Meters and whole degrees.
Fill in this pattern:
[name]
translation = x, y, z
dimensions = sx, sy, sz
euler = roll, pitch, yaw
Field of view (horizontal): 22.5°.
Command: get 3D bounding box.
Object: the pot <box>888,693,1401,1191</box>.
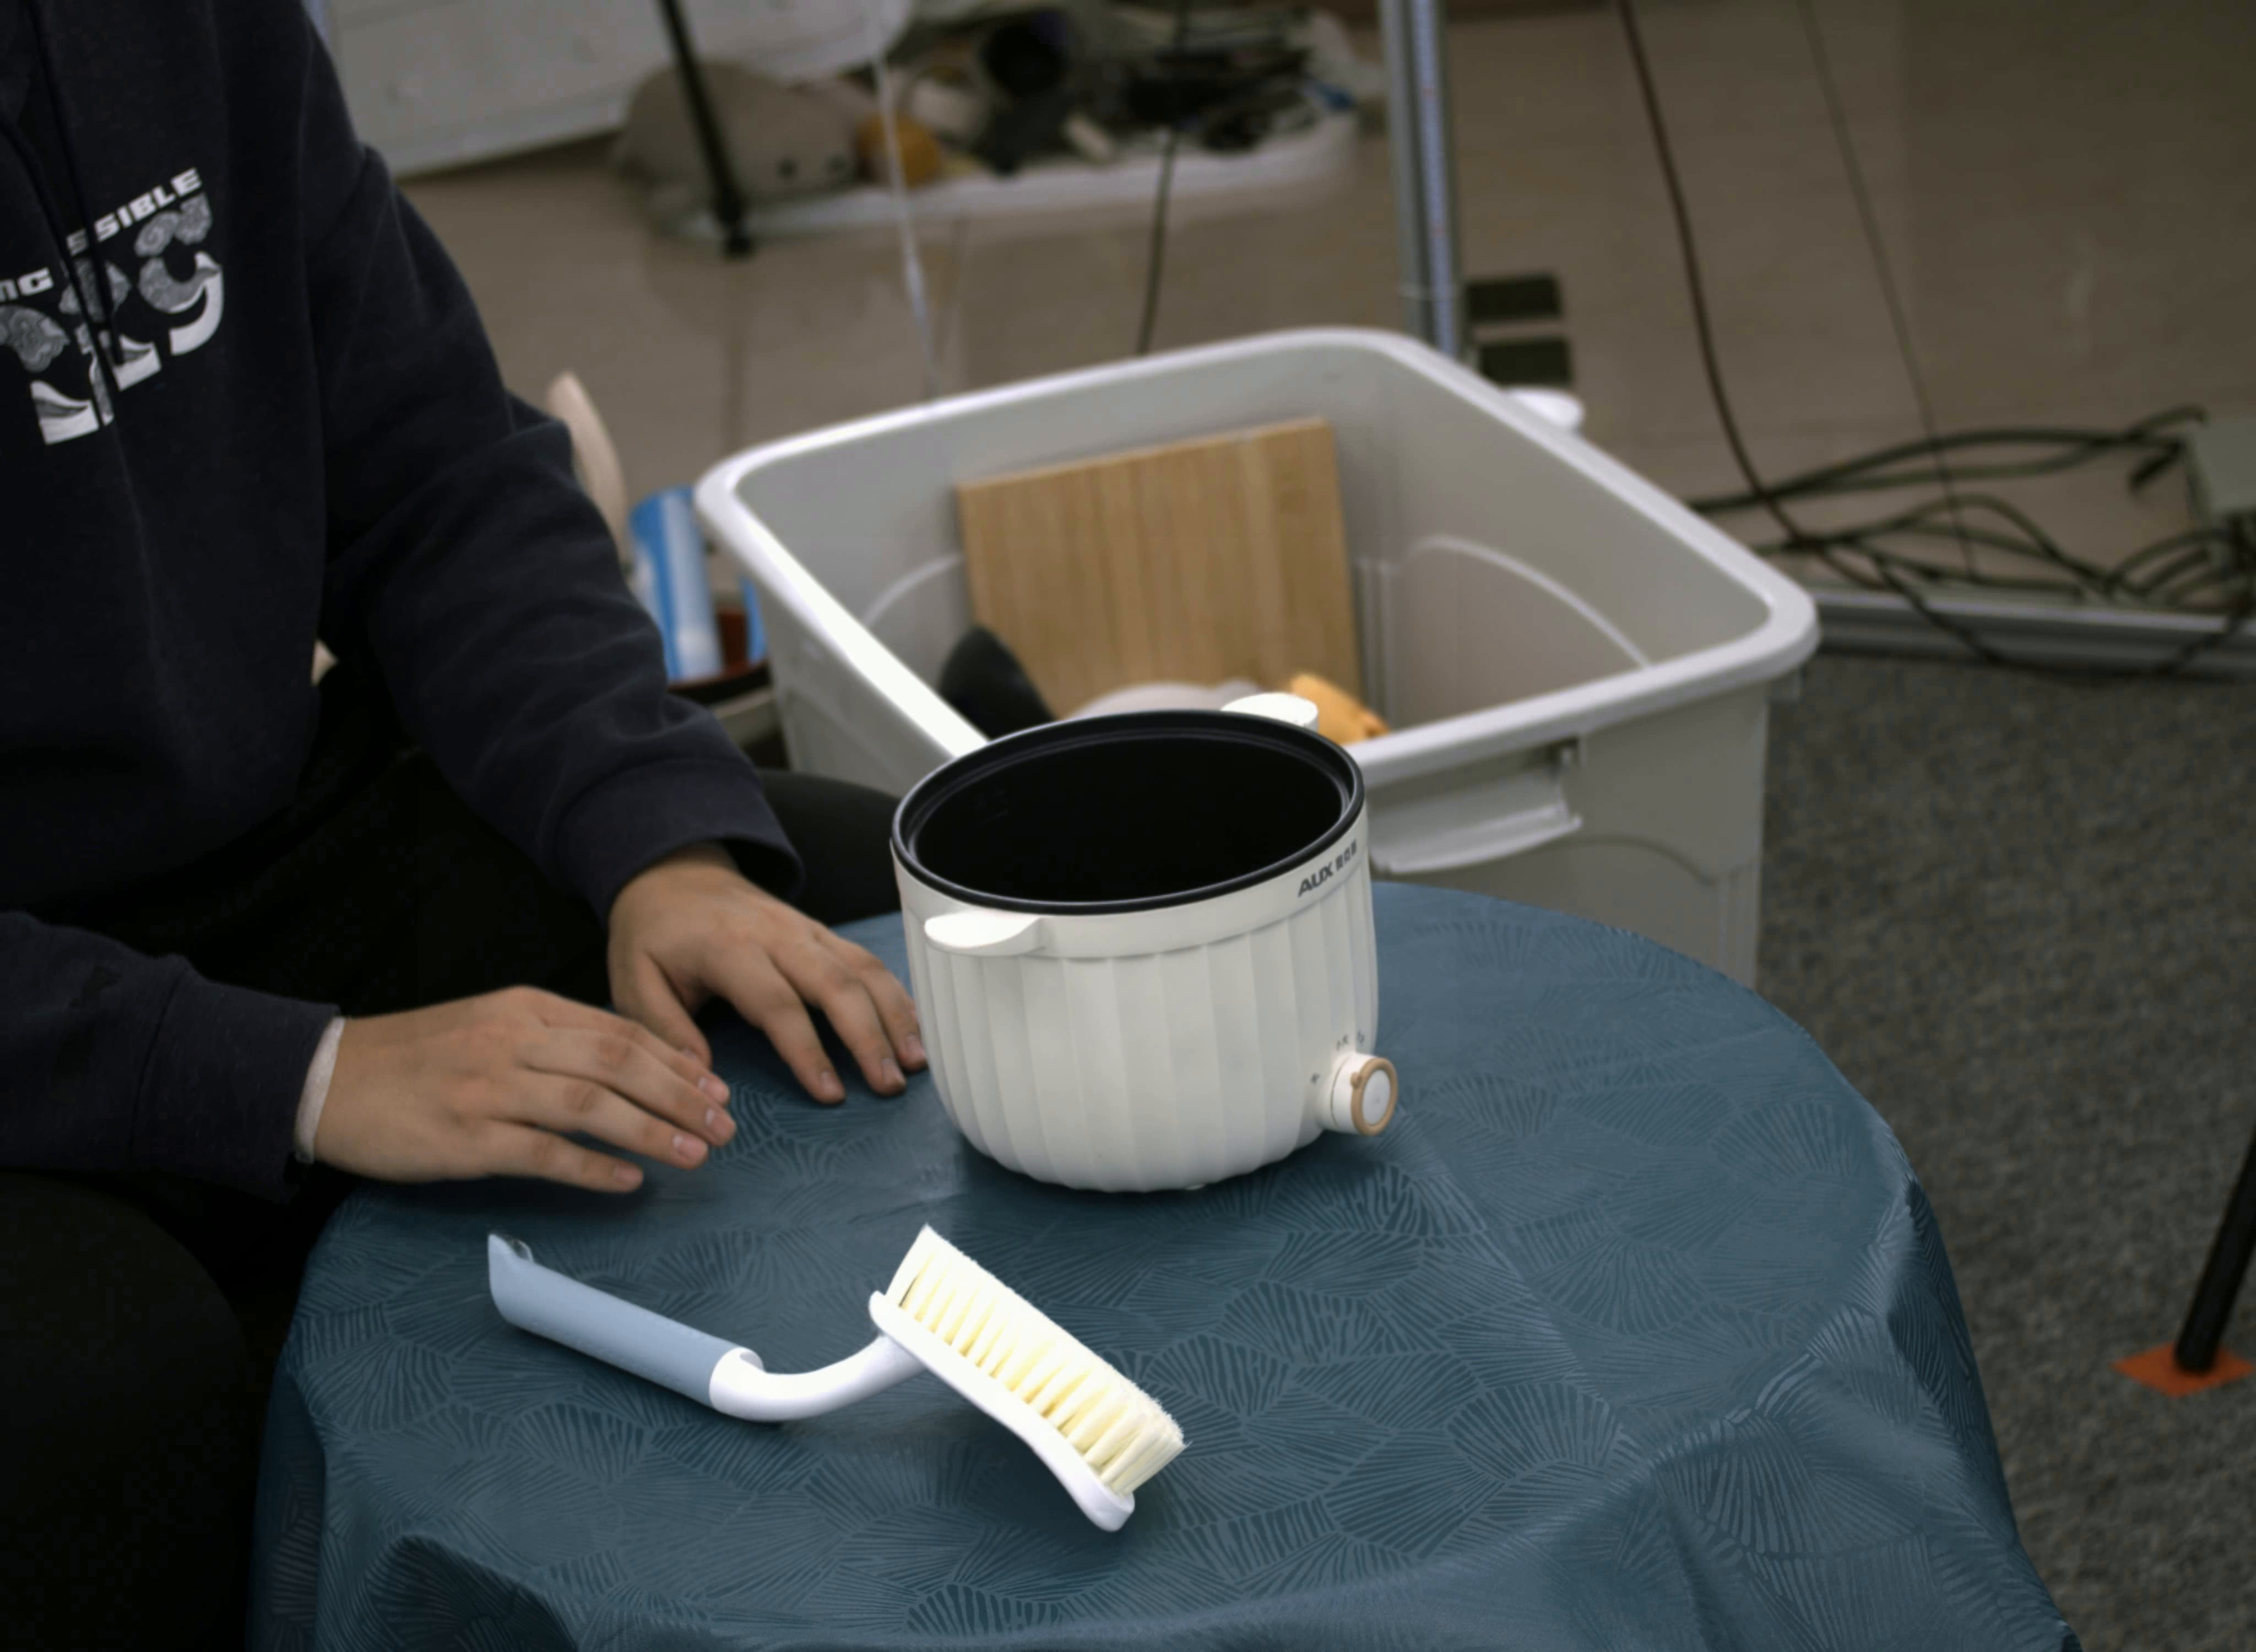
[pot]
translation = 0.011, 0.052, 2.167
dimensions = 0.190, 0.145, 0.237
euler = 7, 29, 33

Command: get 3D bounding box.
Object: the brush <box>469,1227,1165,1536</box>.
[brush]
translation = -0.111, 0.167, 2.015
dimensions = 0.323, 0.084, 0.084
euler = 17, 37, 40
